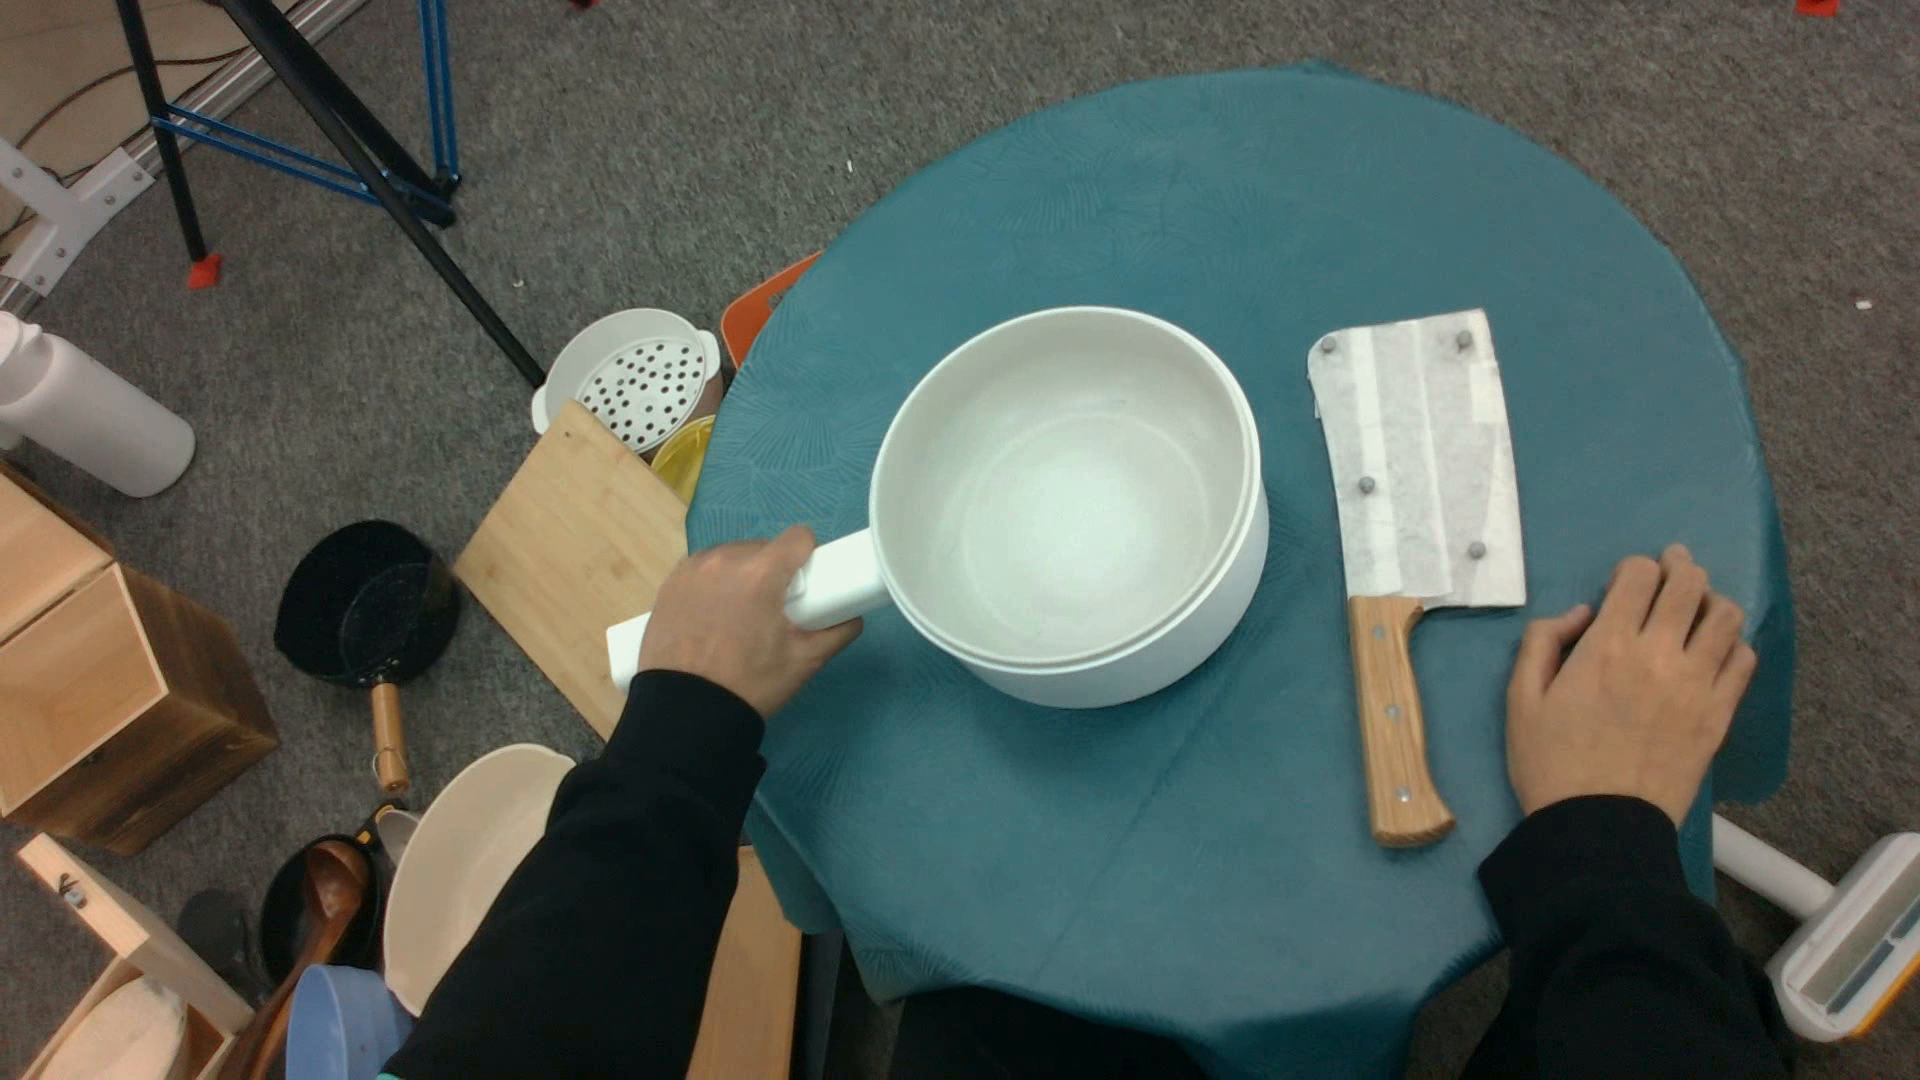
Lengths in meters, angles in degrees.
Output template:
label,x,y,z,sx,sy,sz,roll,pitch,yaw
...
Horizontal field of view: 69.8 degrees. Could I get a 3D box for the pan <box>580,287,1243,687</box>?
label,x,y,z,sx,sy,sz,roll,pitch,yaw
pan,-0.022,0.005,0.736,0.354,0.102,0.202,-21,62,9

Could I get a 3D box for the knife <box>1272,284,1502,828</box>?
label,x,y,z,sx,sy,sz,roll,pitch,yaw
knife,0.223,-0.005,0.724,0.114,0.021,0.316,-1,62,13
